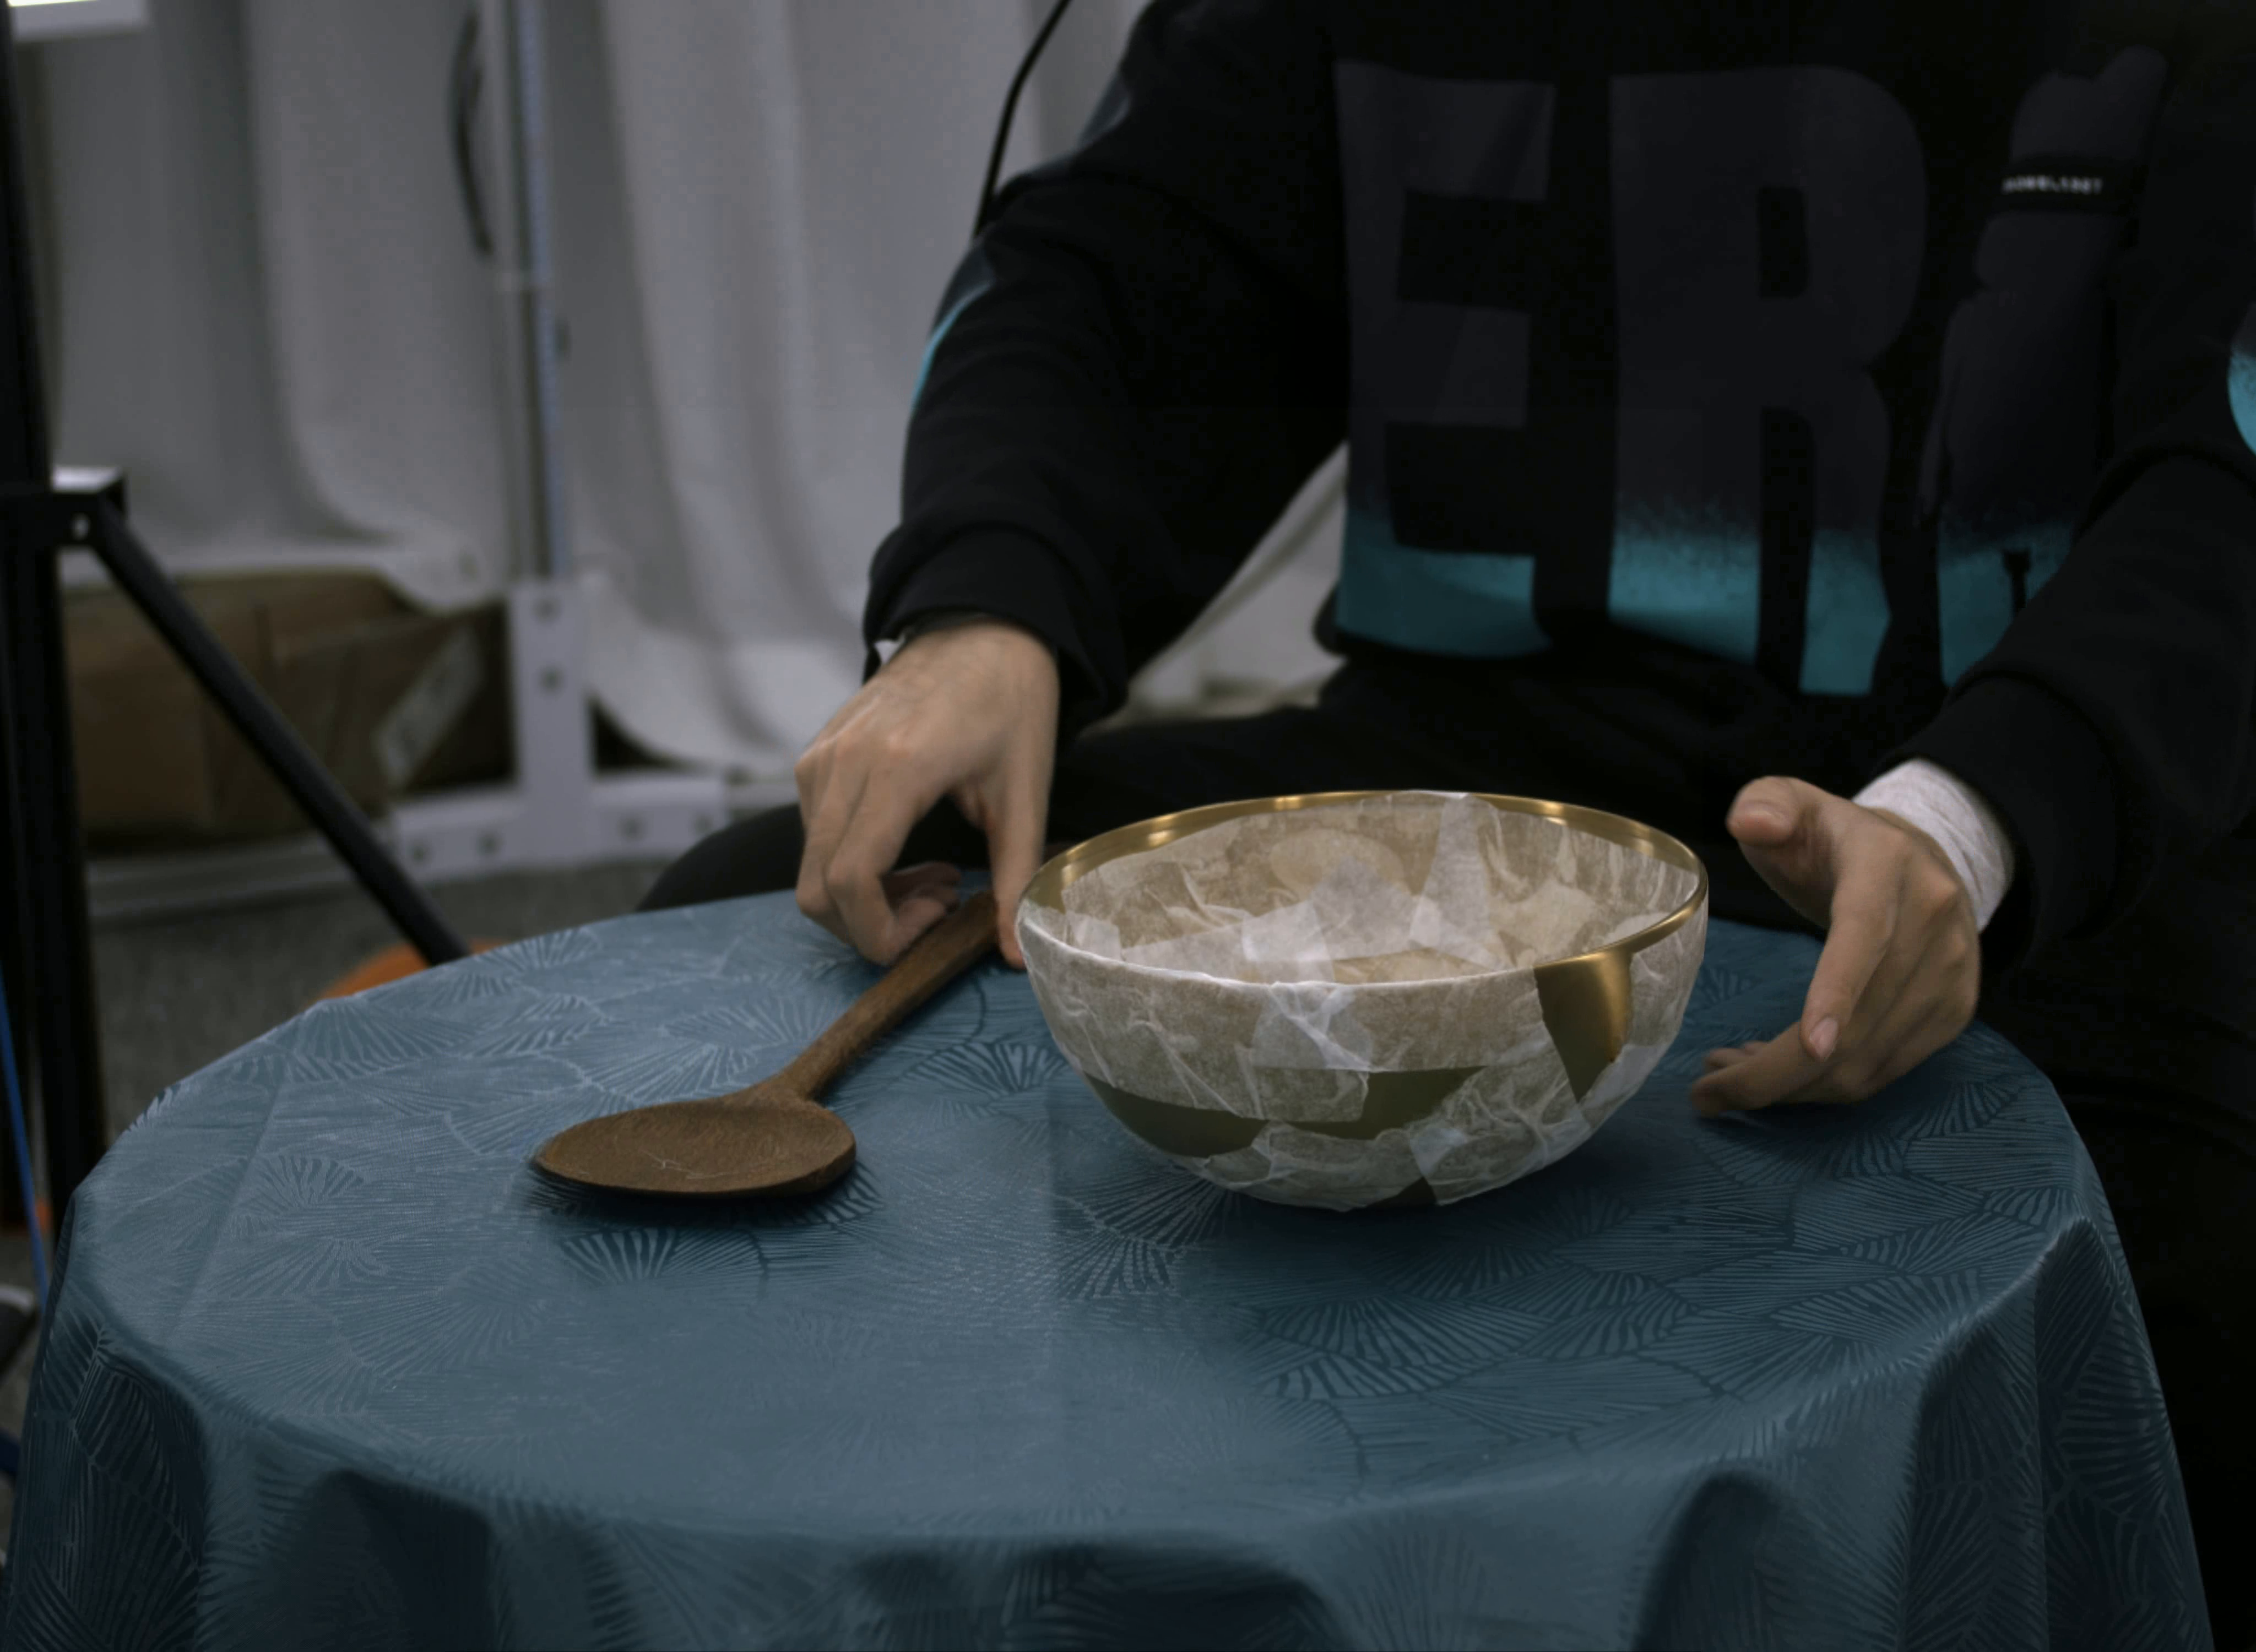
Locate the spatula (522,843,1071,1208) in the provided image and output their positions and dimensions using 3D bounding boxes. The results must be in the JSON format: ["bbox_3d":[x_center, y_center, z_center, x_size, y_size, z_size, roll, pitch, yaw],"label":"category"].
[{"bbox_3d":[-0.080,0.059,1.720,0.097,0.016,0.381,3,17,19],"label":"spatula"}]

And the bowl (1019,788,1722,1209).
[{"bbox_3d":[0.073,0.058,1.551,0.213,0.094,0.216,-4,14,0],"label":"bowl"}]
